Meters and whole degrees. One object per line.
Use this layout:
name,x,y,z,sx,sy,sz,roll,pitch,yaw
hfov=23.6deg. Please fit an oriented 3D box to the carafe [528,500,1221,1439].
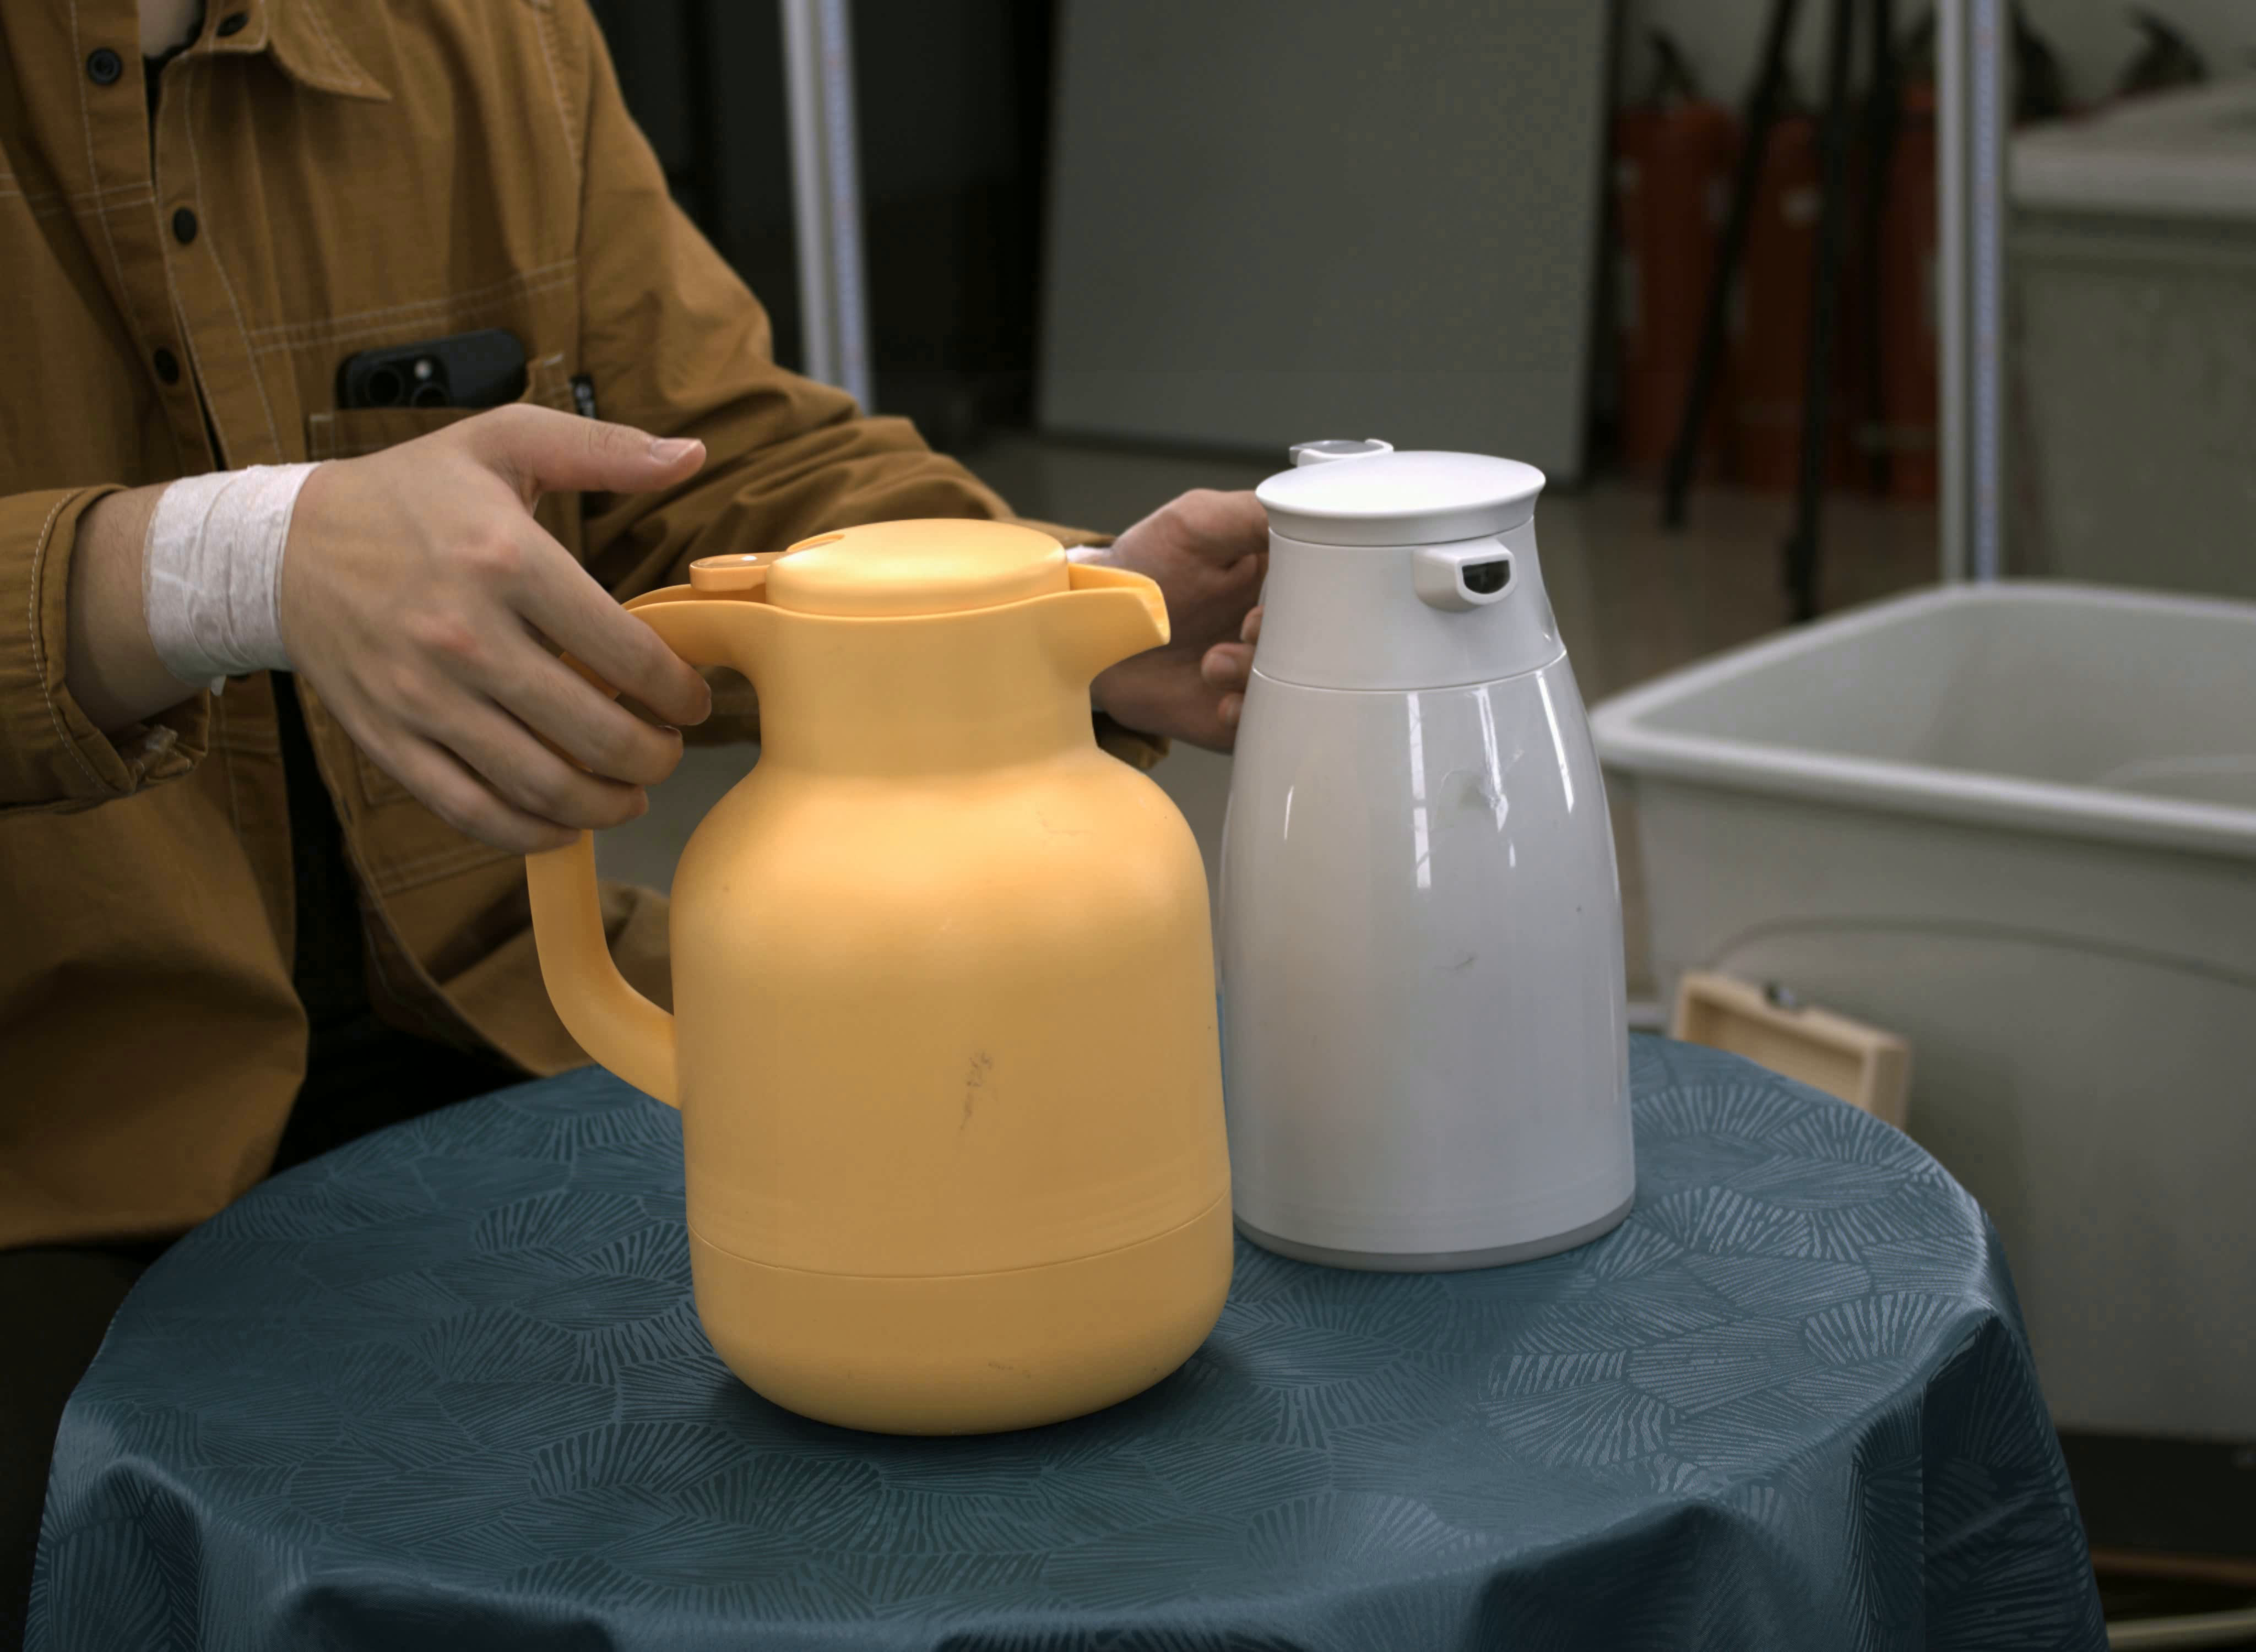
carafe,-0.074,0.038,1.589,0.201,0.263,0.162,0,12,12

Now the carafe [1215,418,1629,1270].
carafe,0.082,-0.002,1.724,0.130,0.251,0.169,-9,14,-20
